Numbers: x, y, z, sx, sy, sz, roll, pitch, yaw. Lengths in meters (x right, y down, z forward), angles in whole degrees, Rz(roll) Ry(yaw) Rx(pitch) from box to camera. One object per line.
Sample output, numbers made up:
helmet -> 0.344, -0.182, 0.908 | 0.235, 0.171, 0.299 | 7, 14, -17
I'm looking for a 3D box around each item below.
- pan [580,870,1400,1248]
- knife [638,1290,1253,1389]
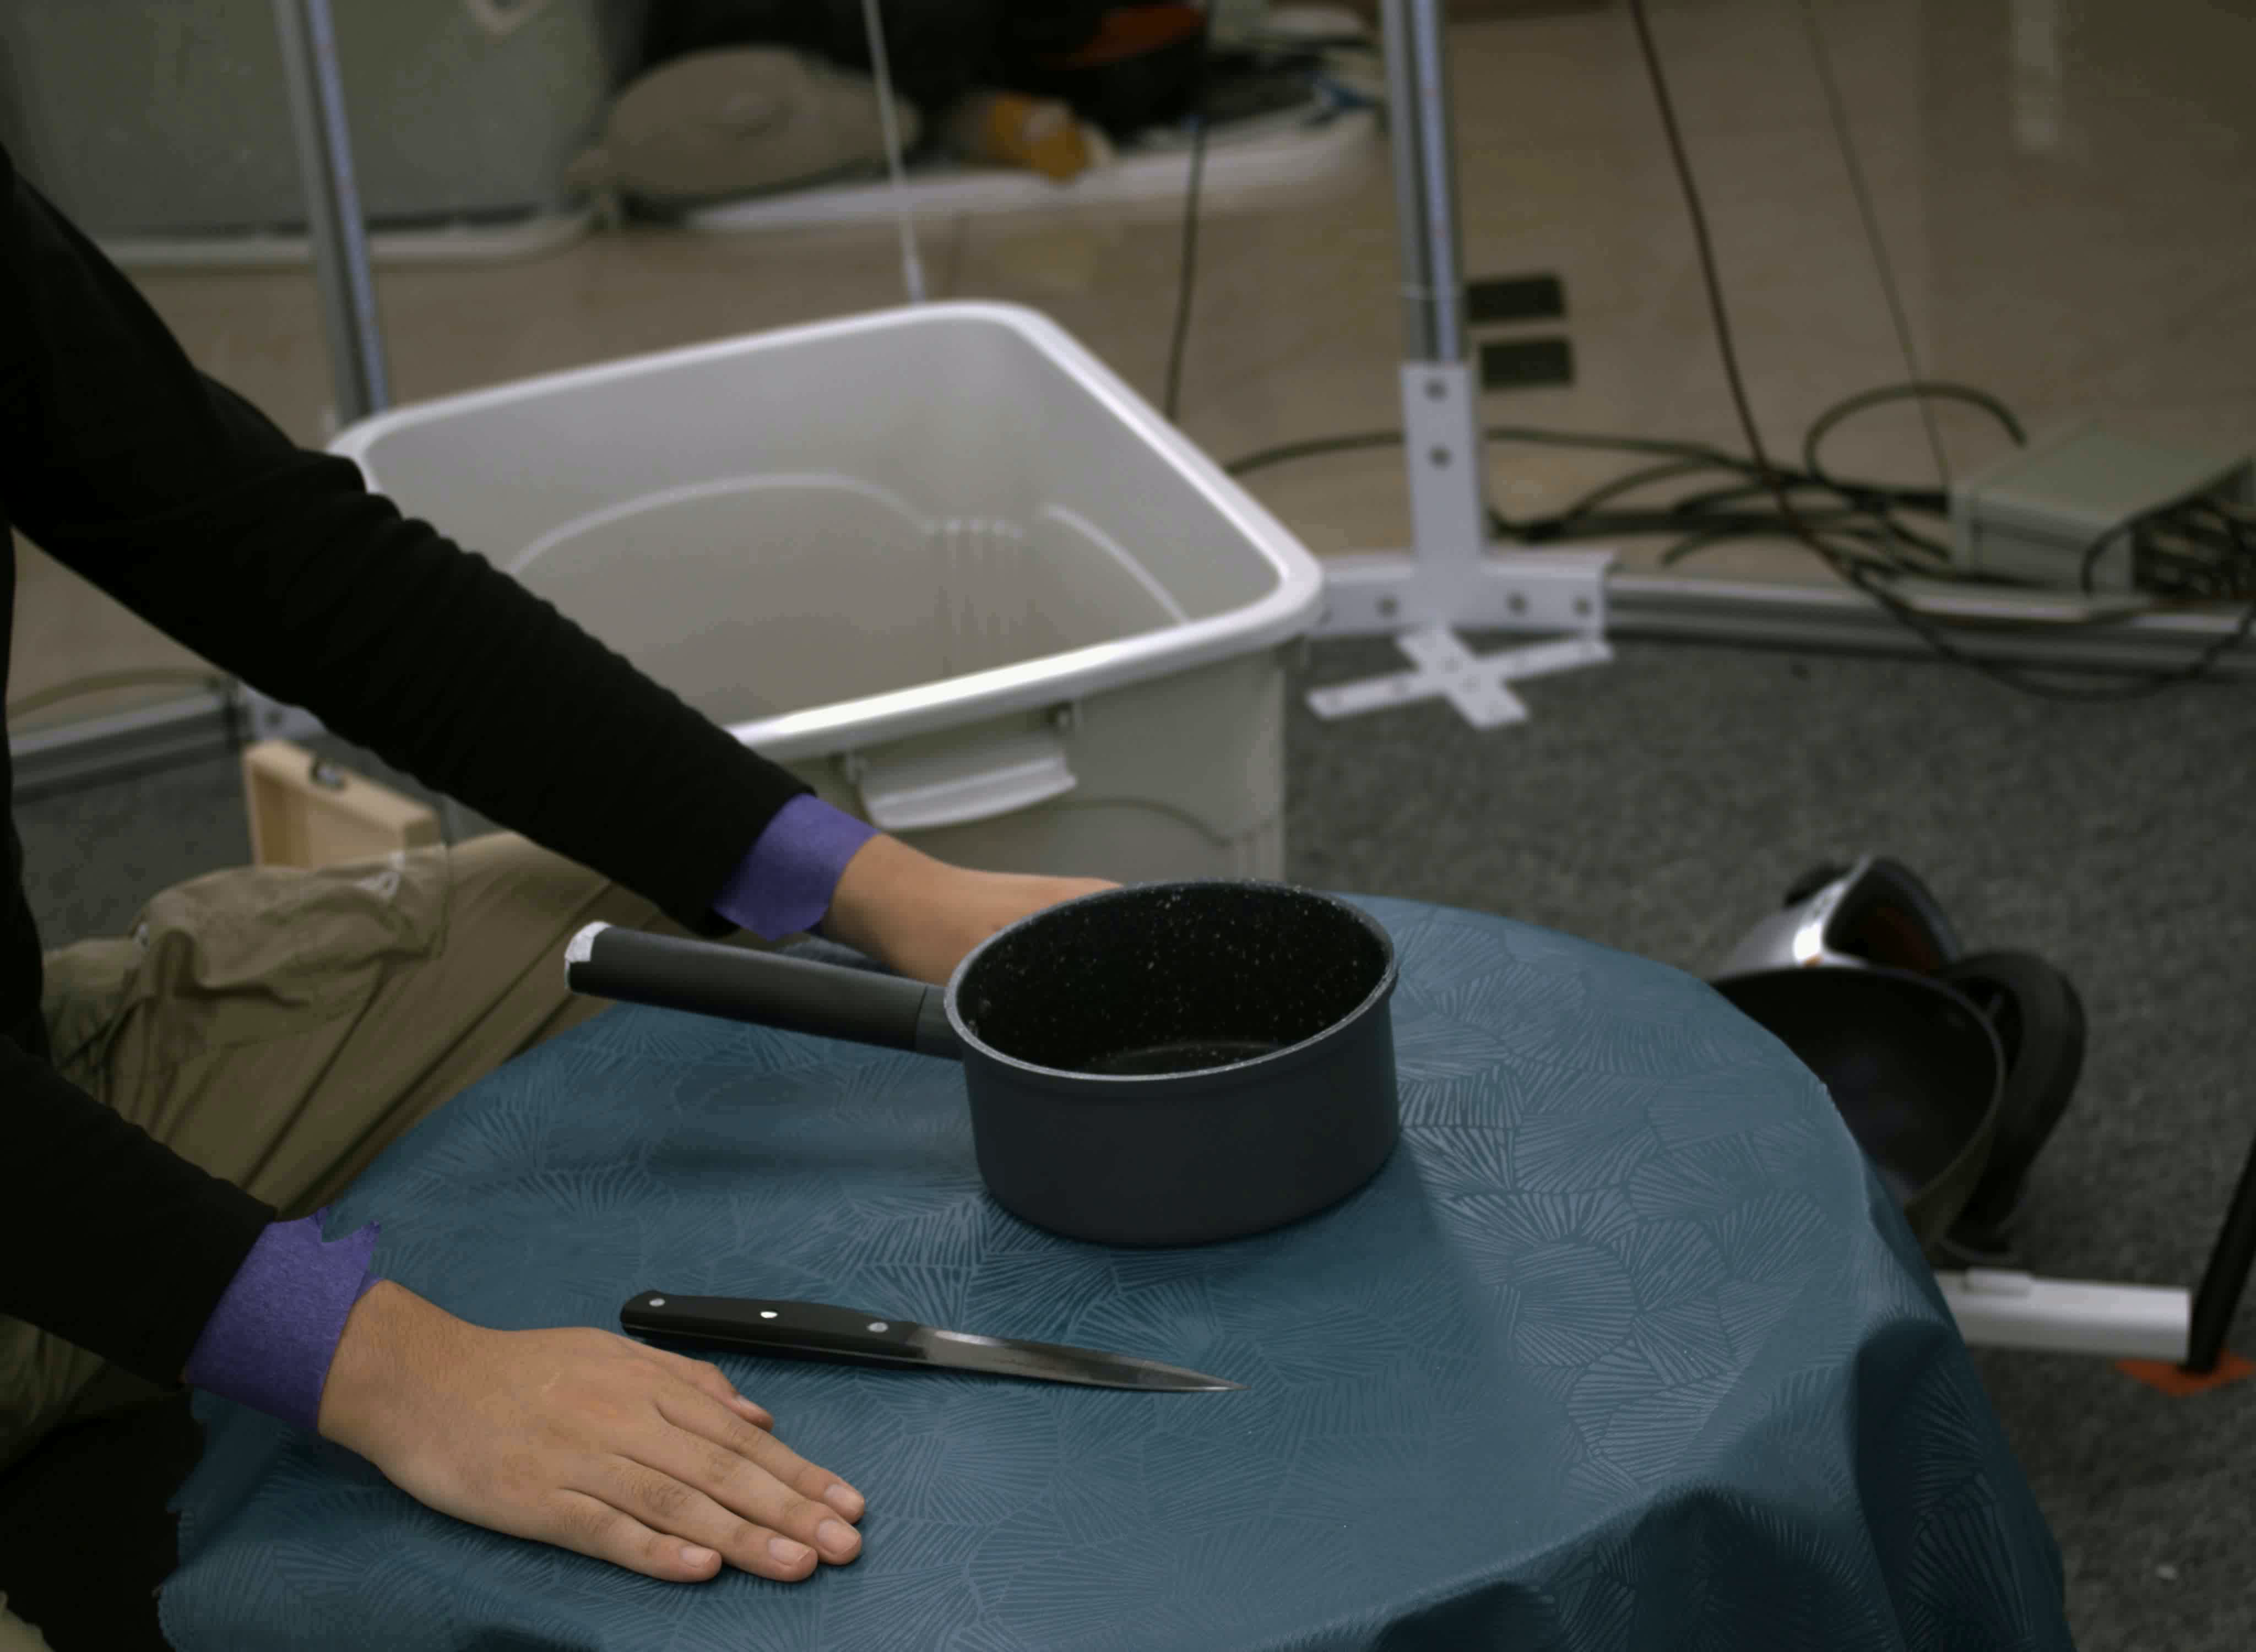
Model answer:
pan -> -0.055, 0.083, 2.182 | 0.328, 0.088, 0.169 | 4, 27, 19
knife -> -0.069, 0.189, 2.047 | 0.237, 0.016, 0.024 | 5, 25, 18
